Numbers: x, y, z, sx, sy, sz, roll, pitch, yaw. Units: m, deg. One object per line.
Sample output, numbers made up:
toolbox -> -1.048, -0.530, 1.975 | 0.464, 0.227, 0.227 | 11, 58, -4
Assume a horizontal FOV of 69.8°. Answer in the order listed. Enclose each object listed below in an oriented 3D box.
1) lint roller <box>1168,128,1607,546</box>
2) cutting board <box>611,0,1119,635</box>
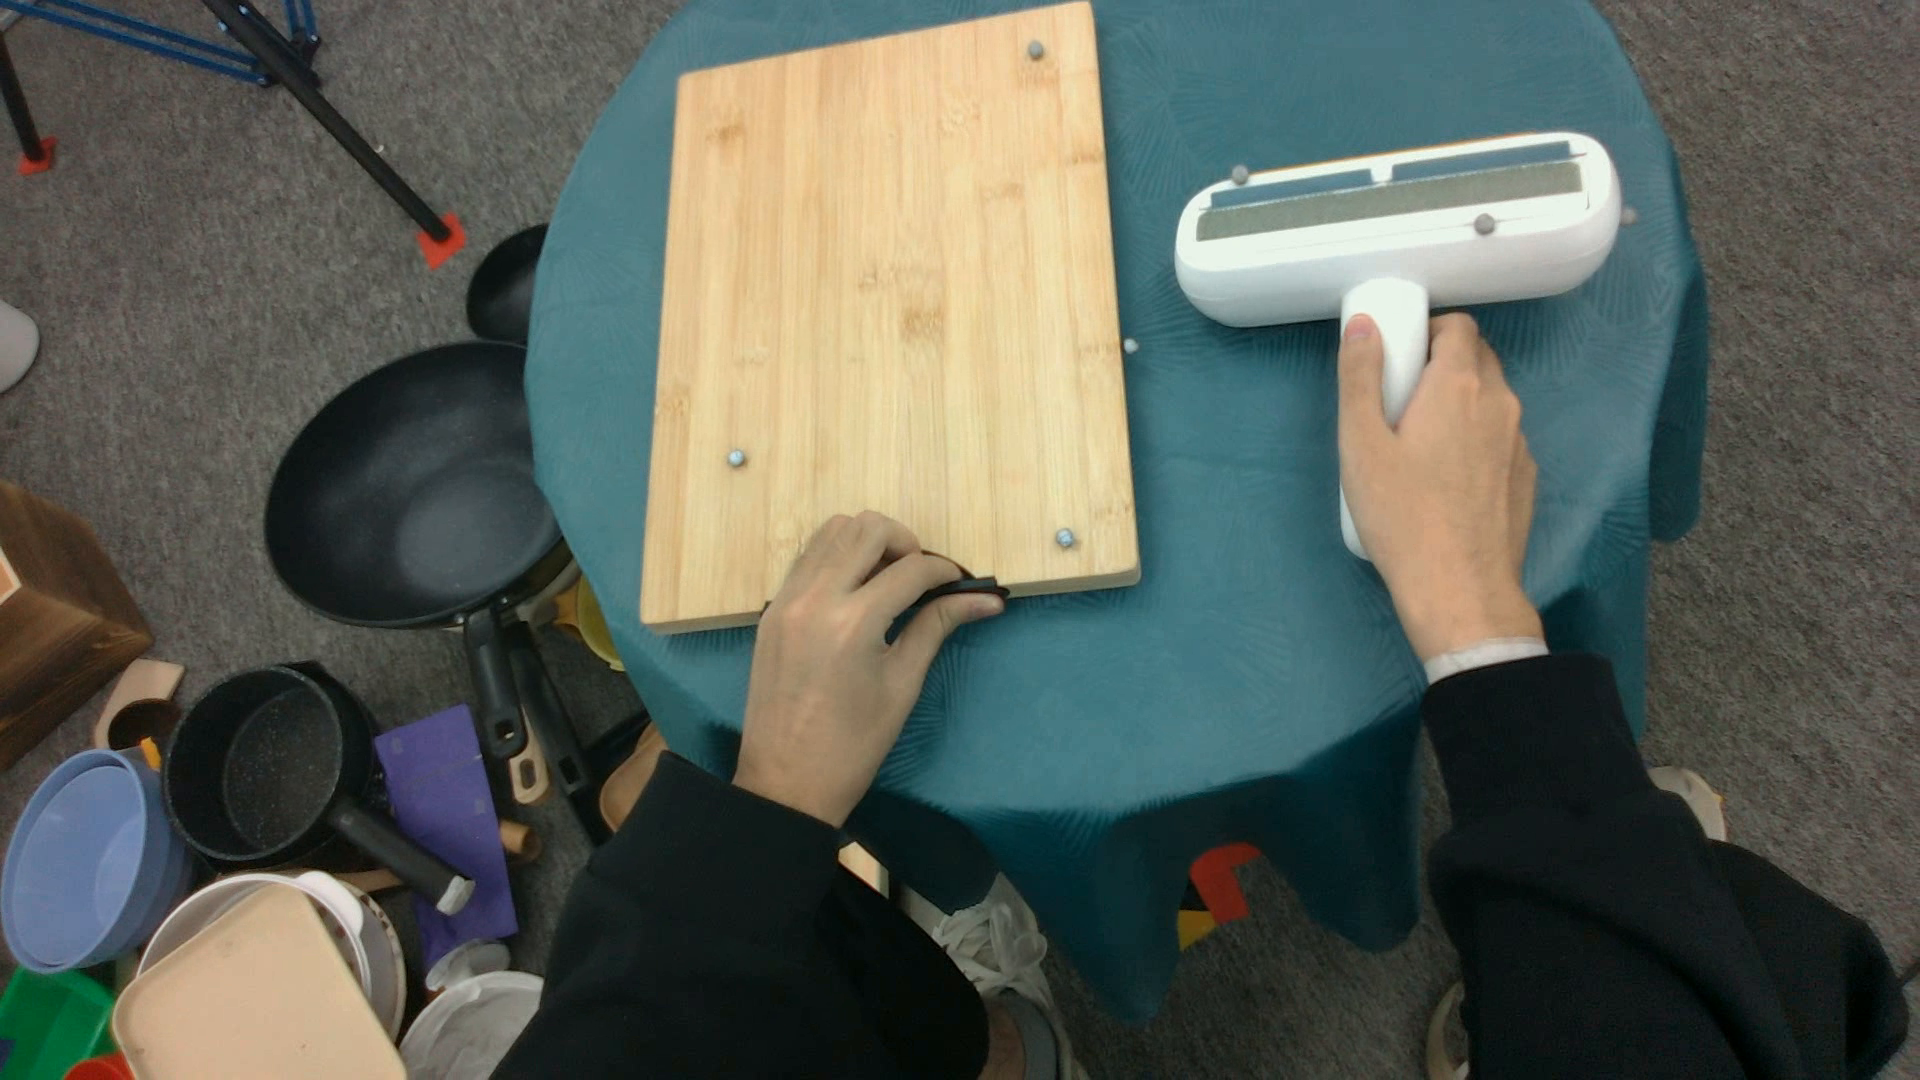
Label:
lint roller -> 0.183, -0.094, 0.622 | 0.192, 0.074, 0.193 | 4, 68, 21
cutting board -> -0.051, -0.127, 0.712 | 0.250, 0.023, 0.350 | -7, 66, 9
